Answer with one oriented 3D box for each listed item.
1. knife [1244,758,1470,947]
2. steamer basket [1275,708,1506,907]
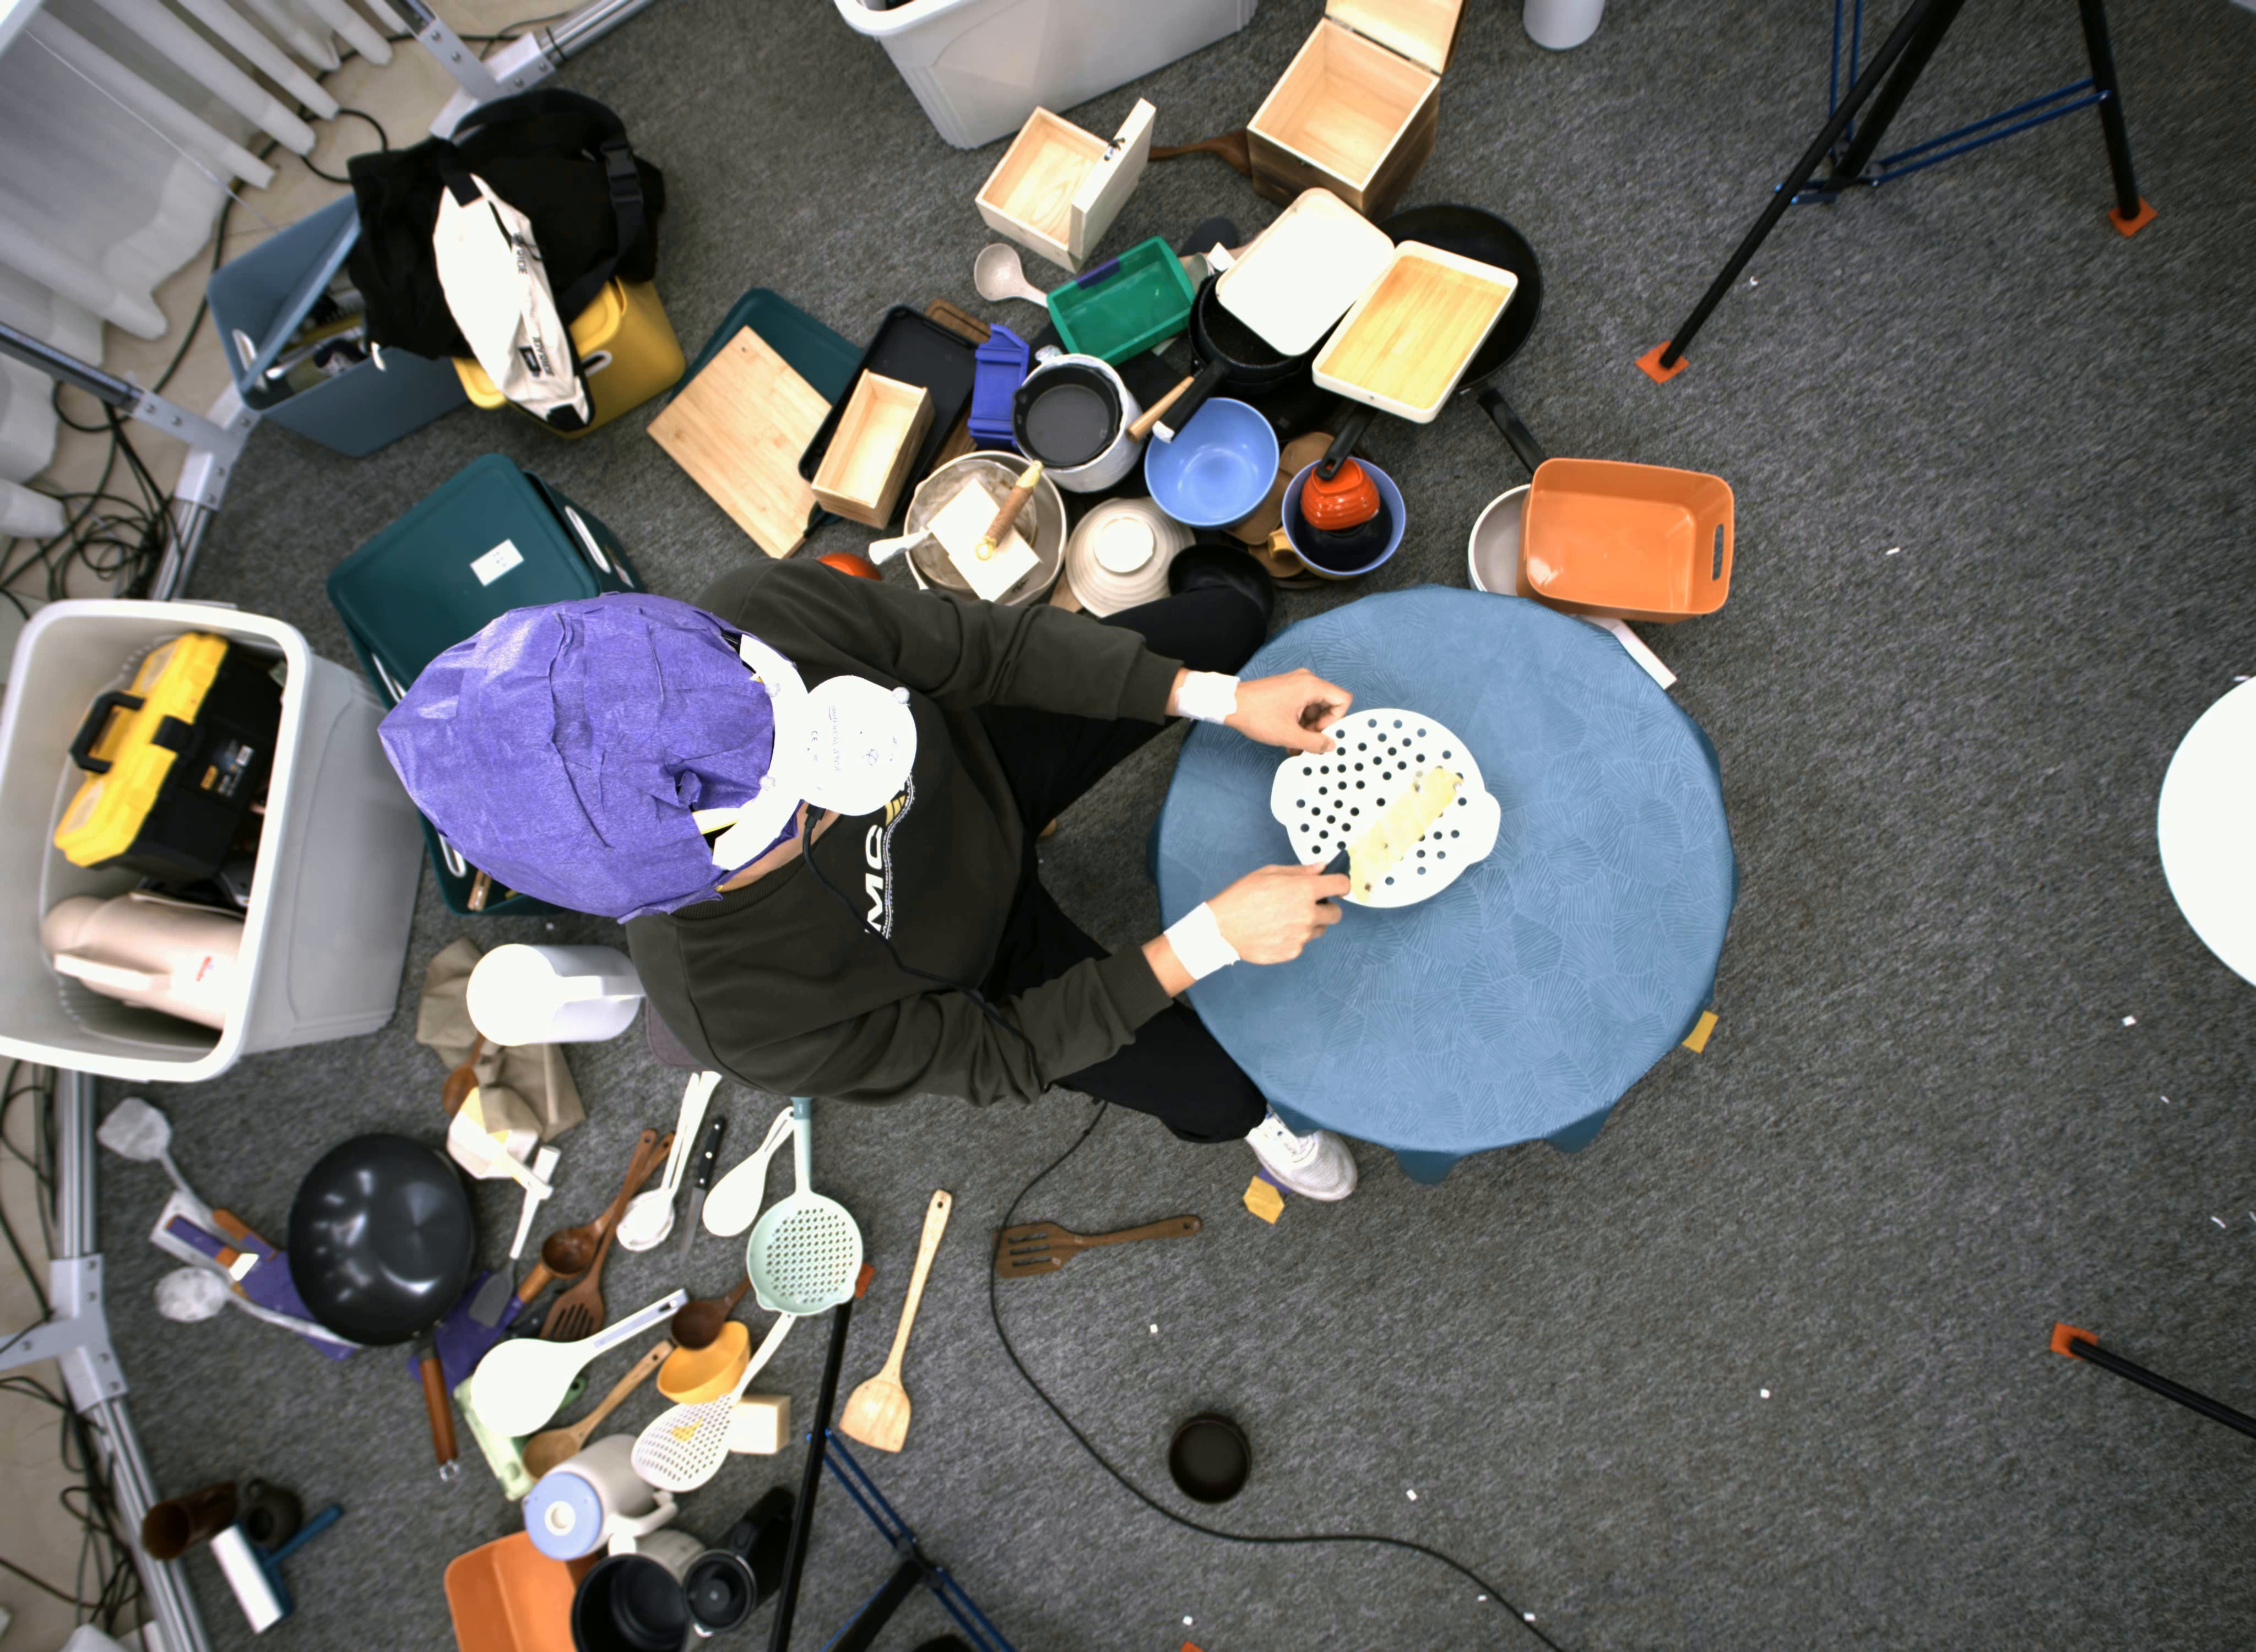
[{"bbox_3d":[0.235,0.031,1.391,0.289,0.027,0.082,-40,114,-1],"label":"knife"},{"bbox_3d":[0.267,-0.022,1.415,0.231,0.068,0.203,12,101,6],"label":"steamer basket"}]
